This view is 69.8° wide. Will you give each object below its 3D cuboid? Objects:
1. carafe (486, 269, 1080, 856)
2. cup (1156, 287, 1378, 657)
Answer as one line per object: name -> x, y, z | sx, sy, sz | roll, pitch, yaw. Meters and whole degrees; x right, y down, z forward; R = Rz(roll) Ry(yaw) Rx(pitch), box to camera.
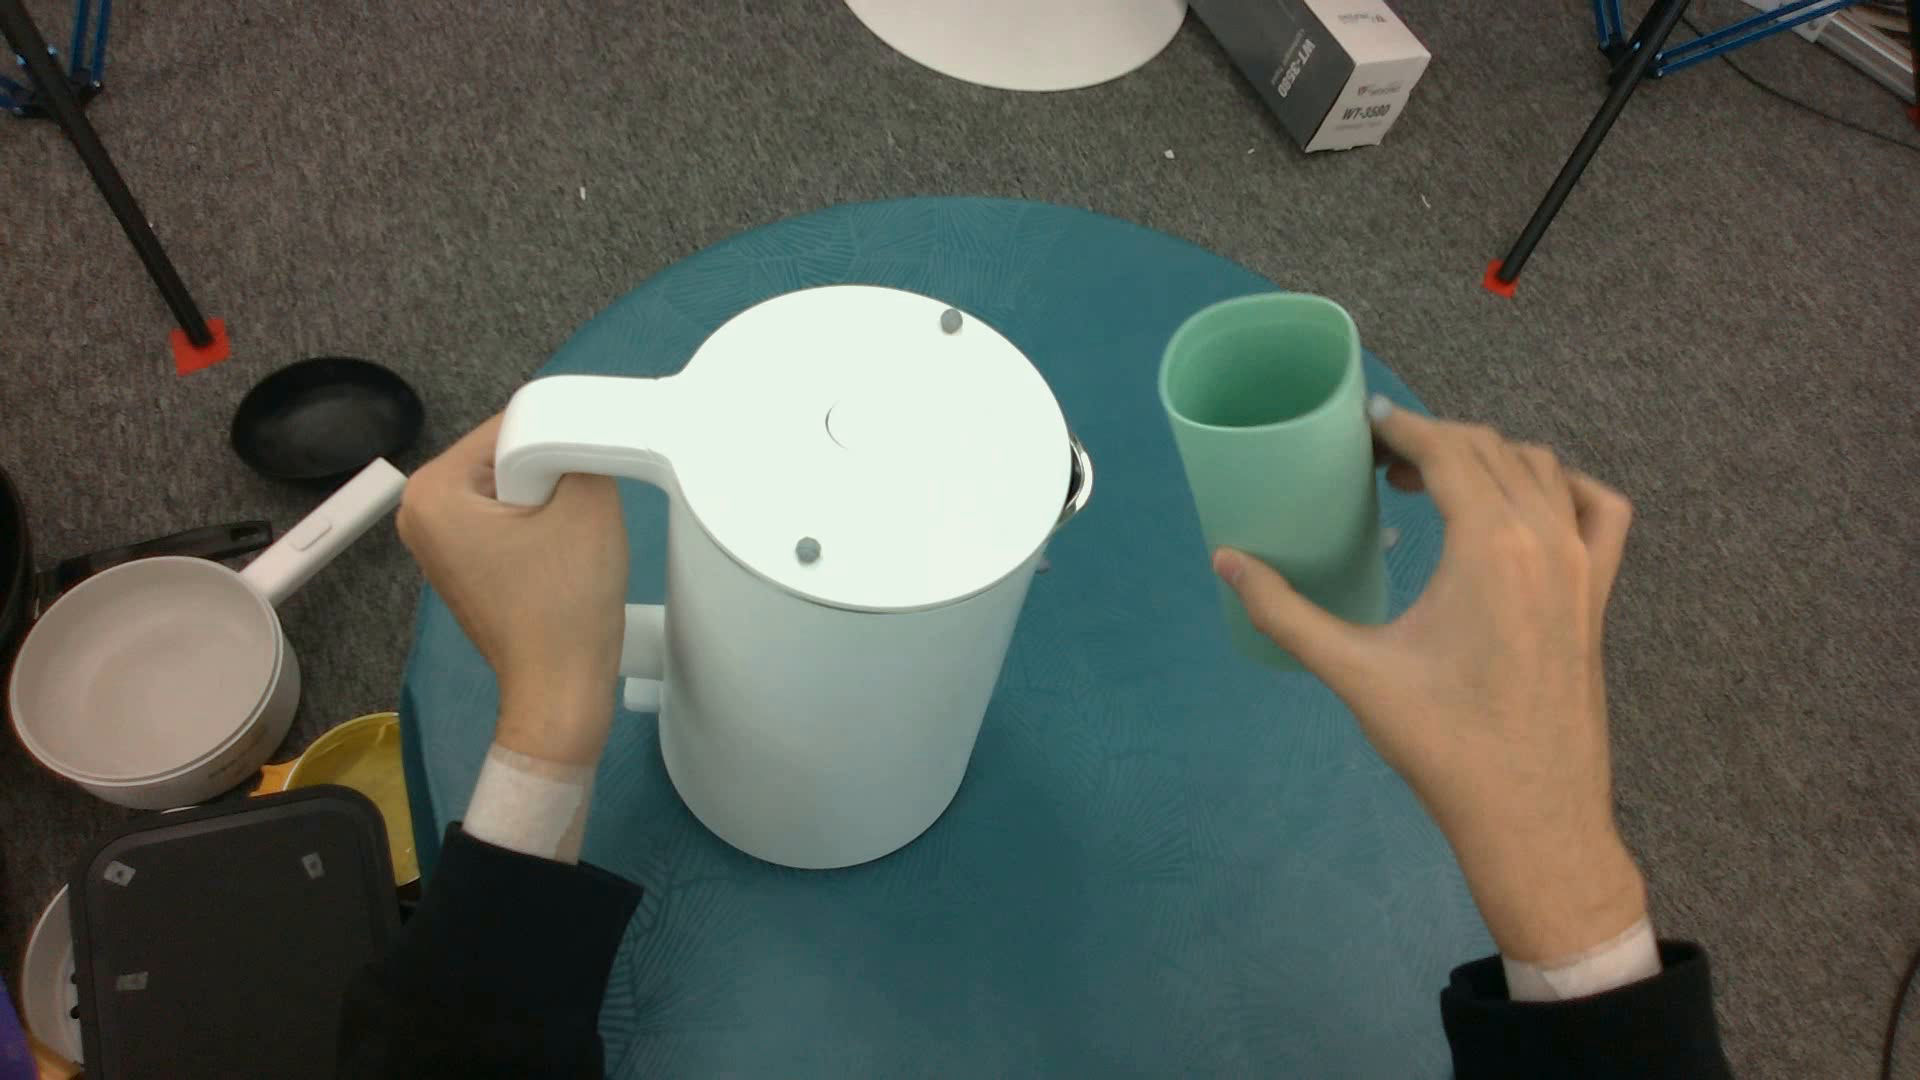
carafe -> -0.081, 0.015, 0.575 | 0.213, 0.239, 0.153 | 6, 55, -10
cup -> 0.114, -0.020, 0.495 | 0.066, 0.132, 0.067 | -11, 46, 12
